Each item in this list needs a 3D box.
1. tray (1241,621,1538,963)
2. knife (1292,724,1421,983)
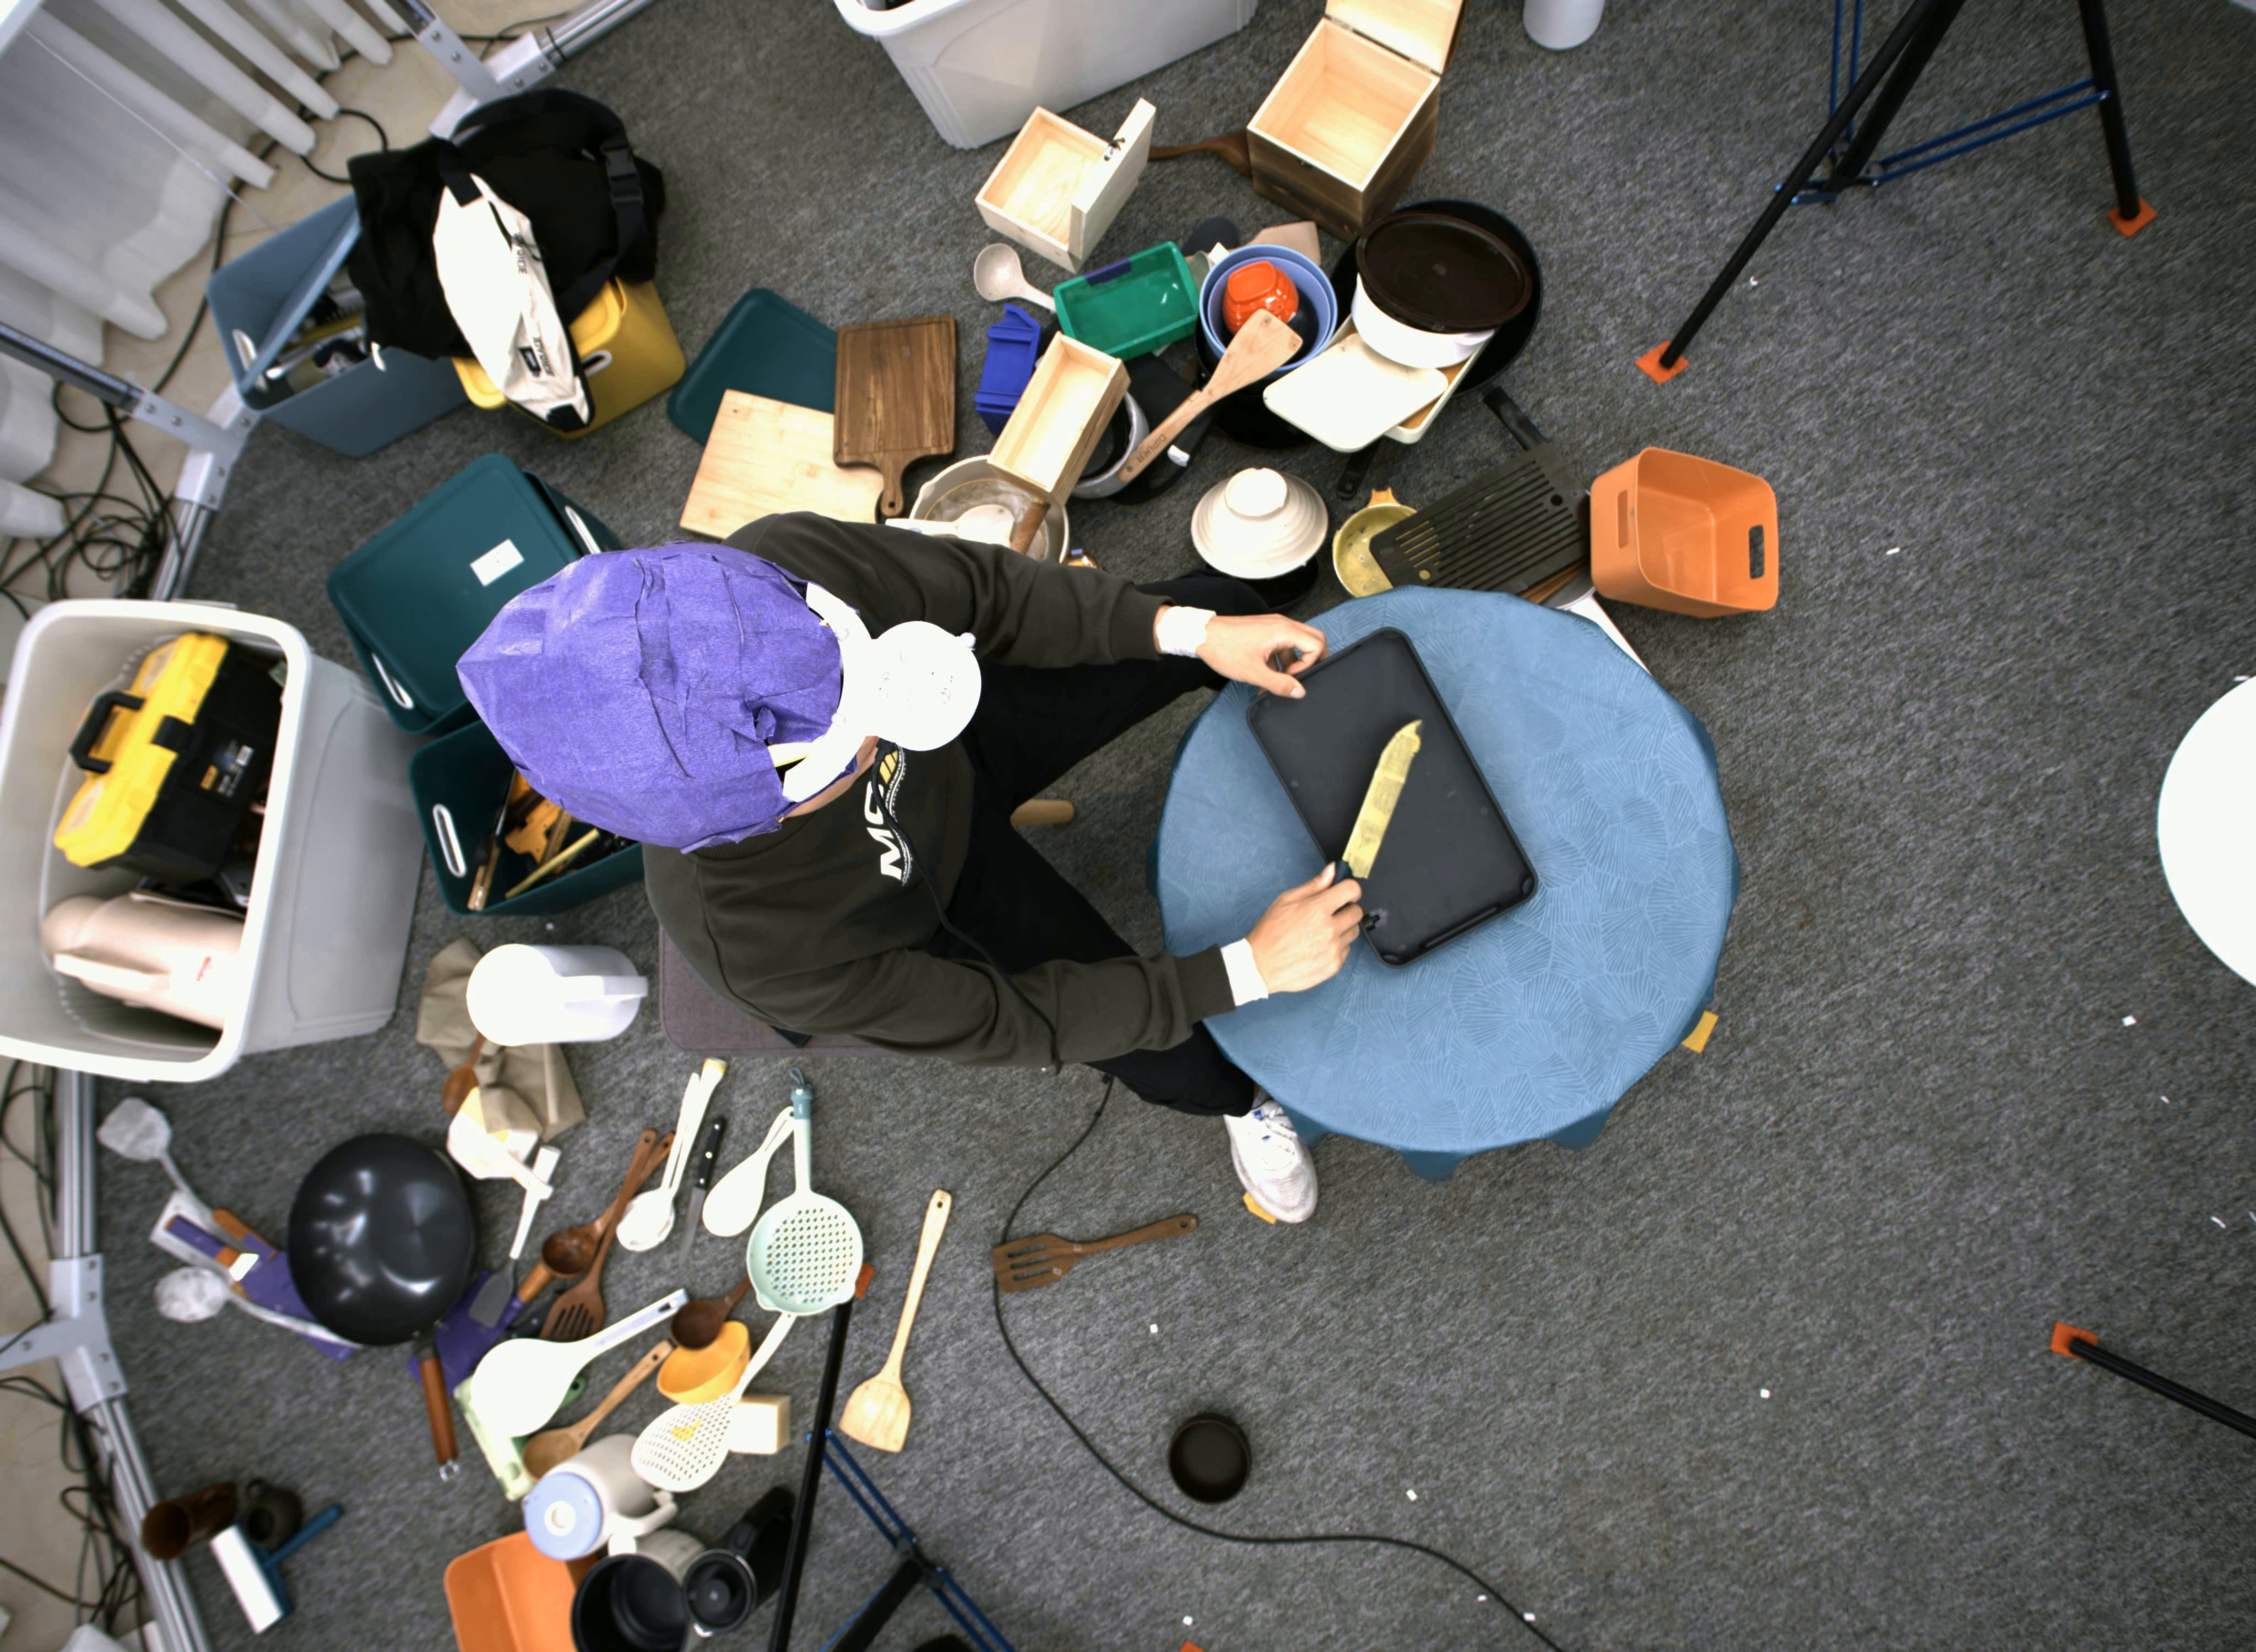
[{"bbox_3d":[0.266,-0.035,1.408,0.185,0.036,0.319,-30,97,9],"label":"tray"},{"bbox_3d":[0.236,0.027,1.402,0.027,0.081,0.291,29,100,35],"label":"knife"}]
